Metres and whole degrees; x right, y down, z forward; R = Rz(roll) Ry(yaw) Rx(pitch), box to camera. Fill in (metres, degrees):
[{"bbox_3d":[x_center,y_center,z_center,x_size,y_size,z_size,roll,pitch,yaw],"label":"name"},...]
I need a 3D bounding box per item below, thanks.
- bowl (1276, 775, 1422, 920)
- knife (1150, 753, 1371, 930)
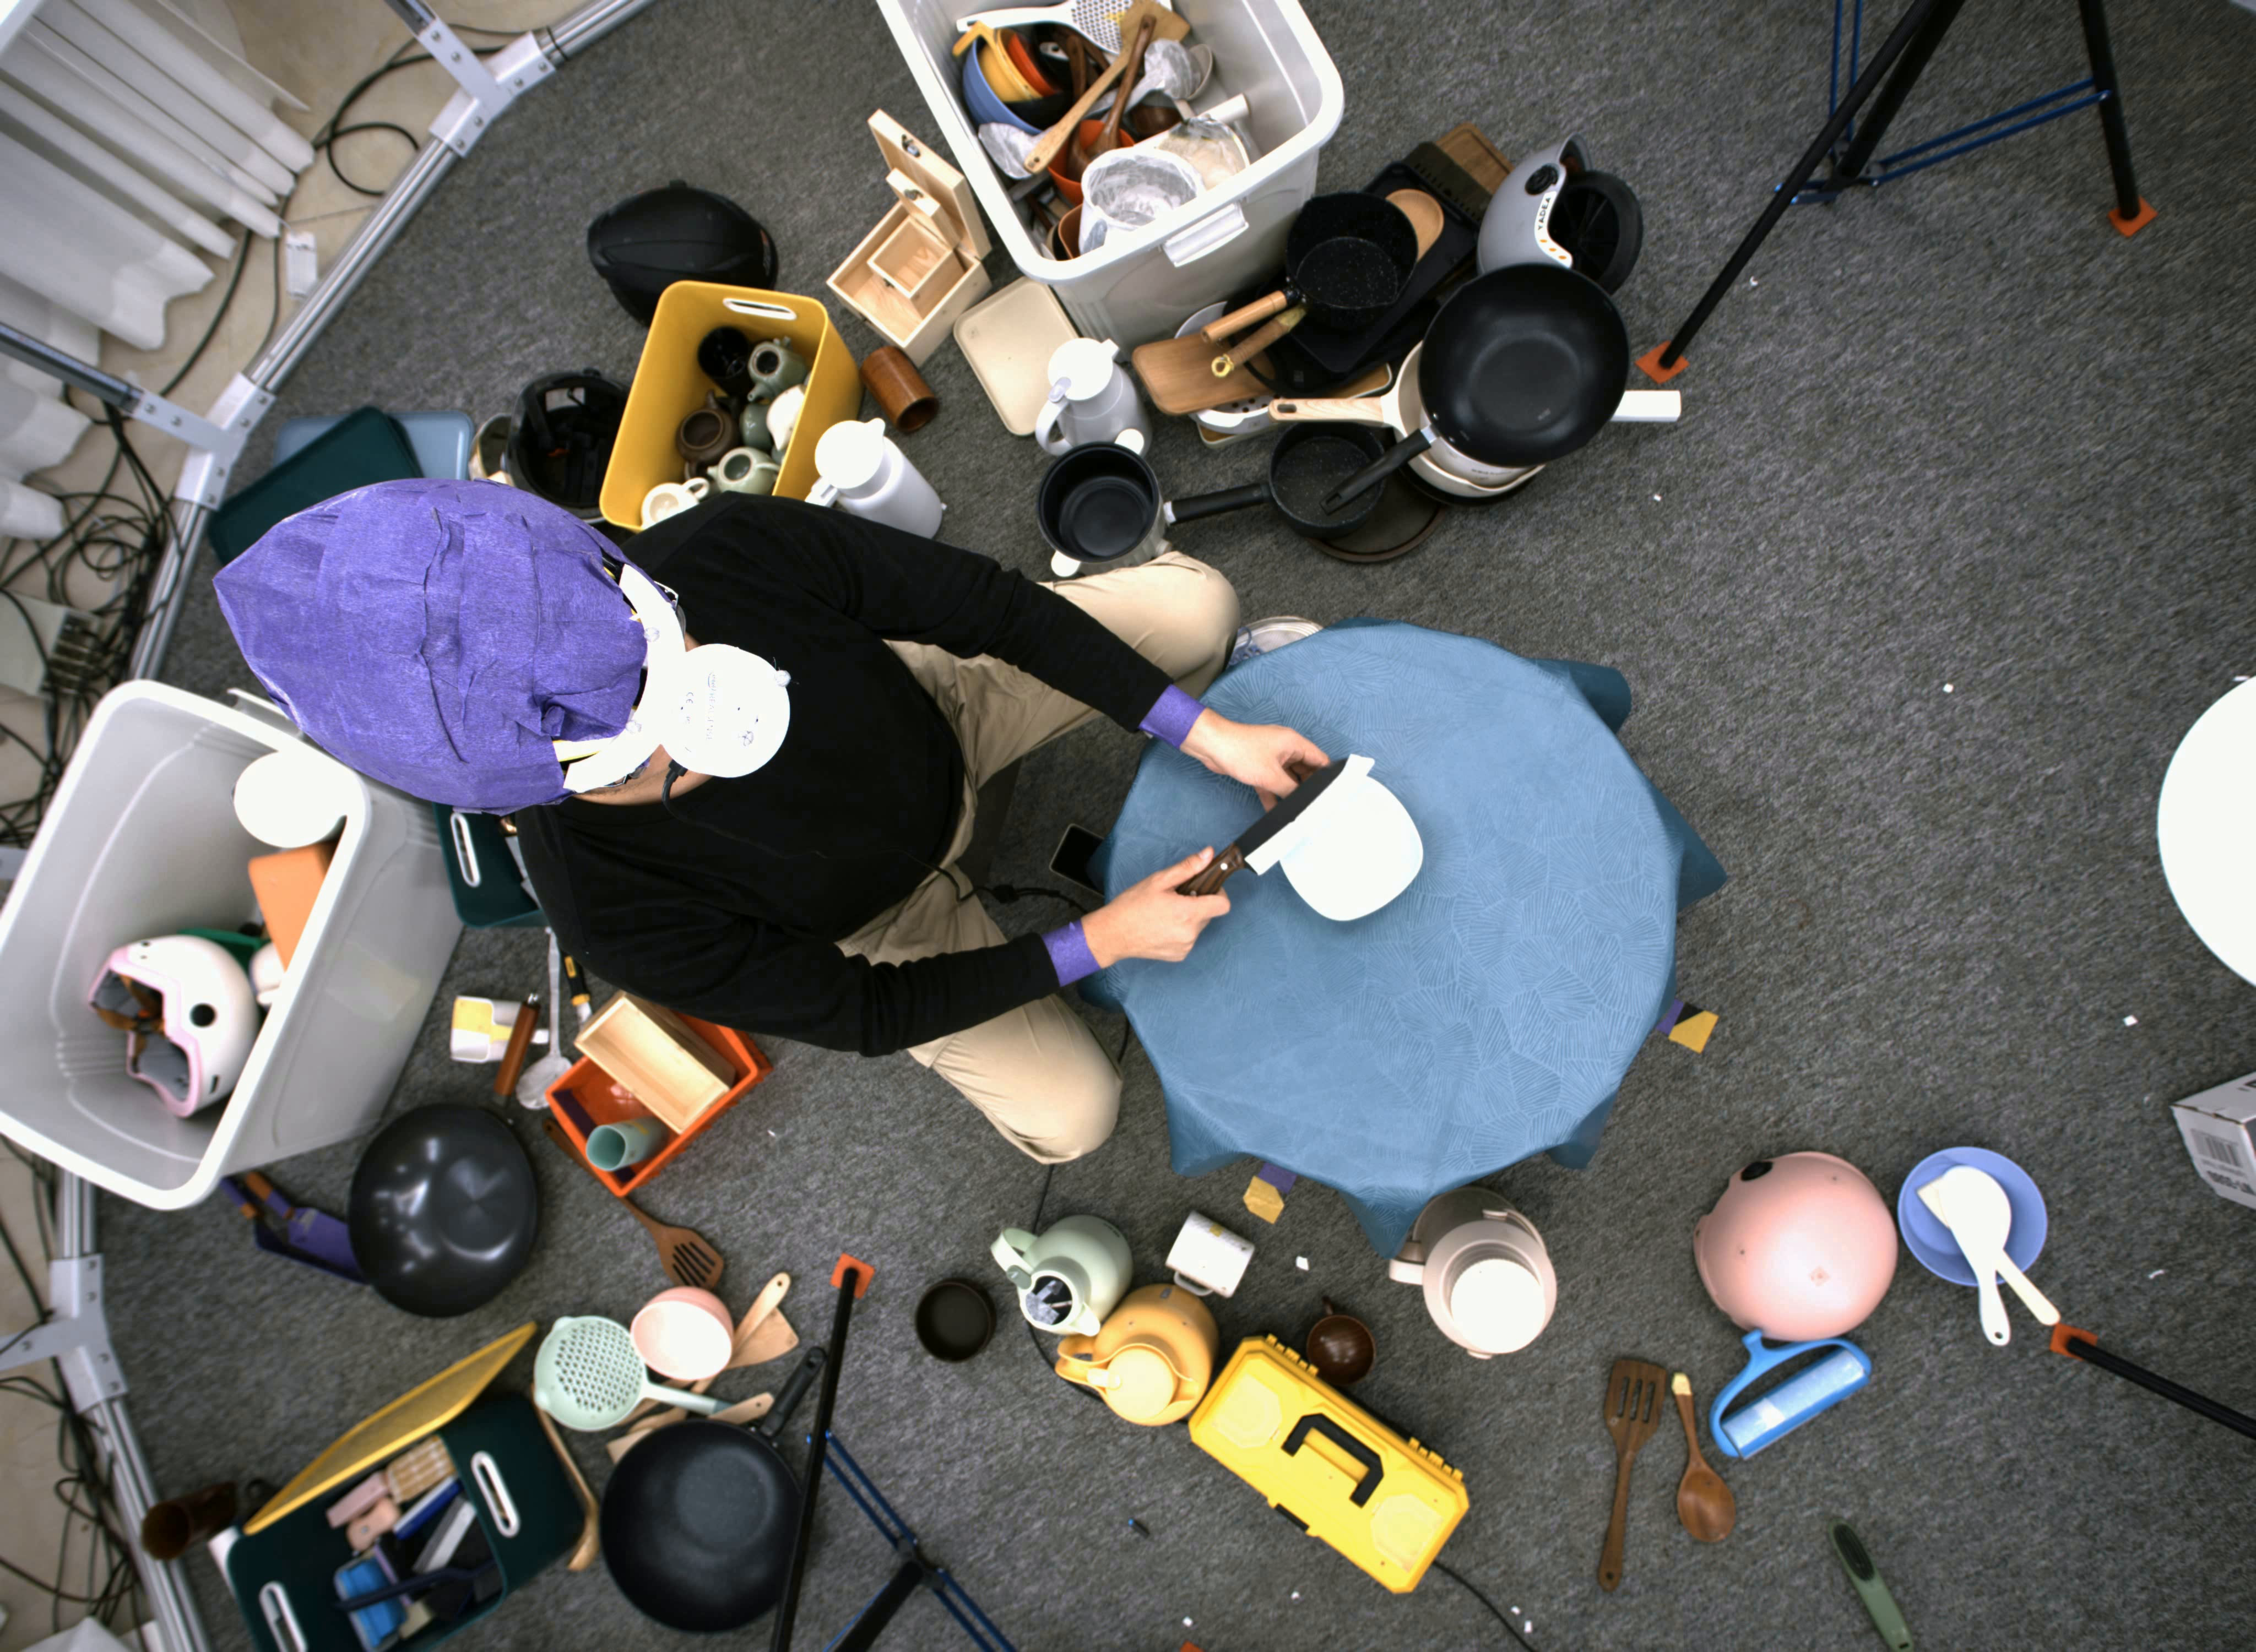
[{"bbox_3d":[0.229,0.024,1.443,0.152,0.059,0.150,-1,85,10],"label":"bowl"},{"bbox_3d":[0.131,0.016,1.400,0.294,0.019,0.050,-40,99,23],"label":"knife"}]
